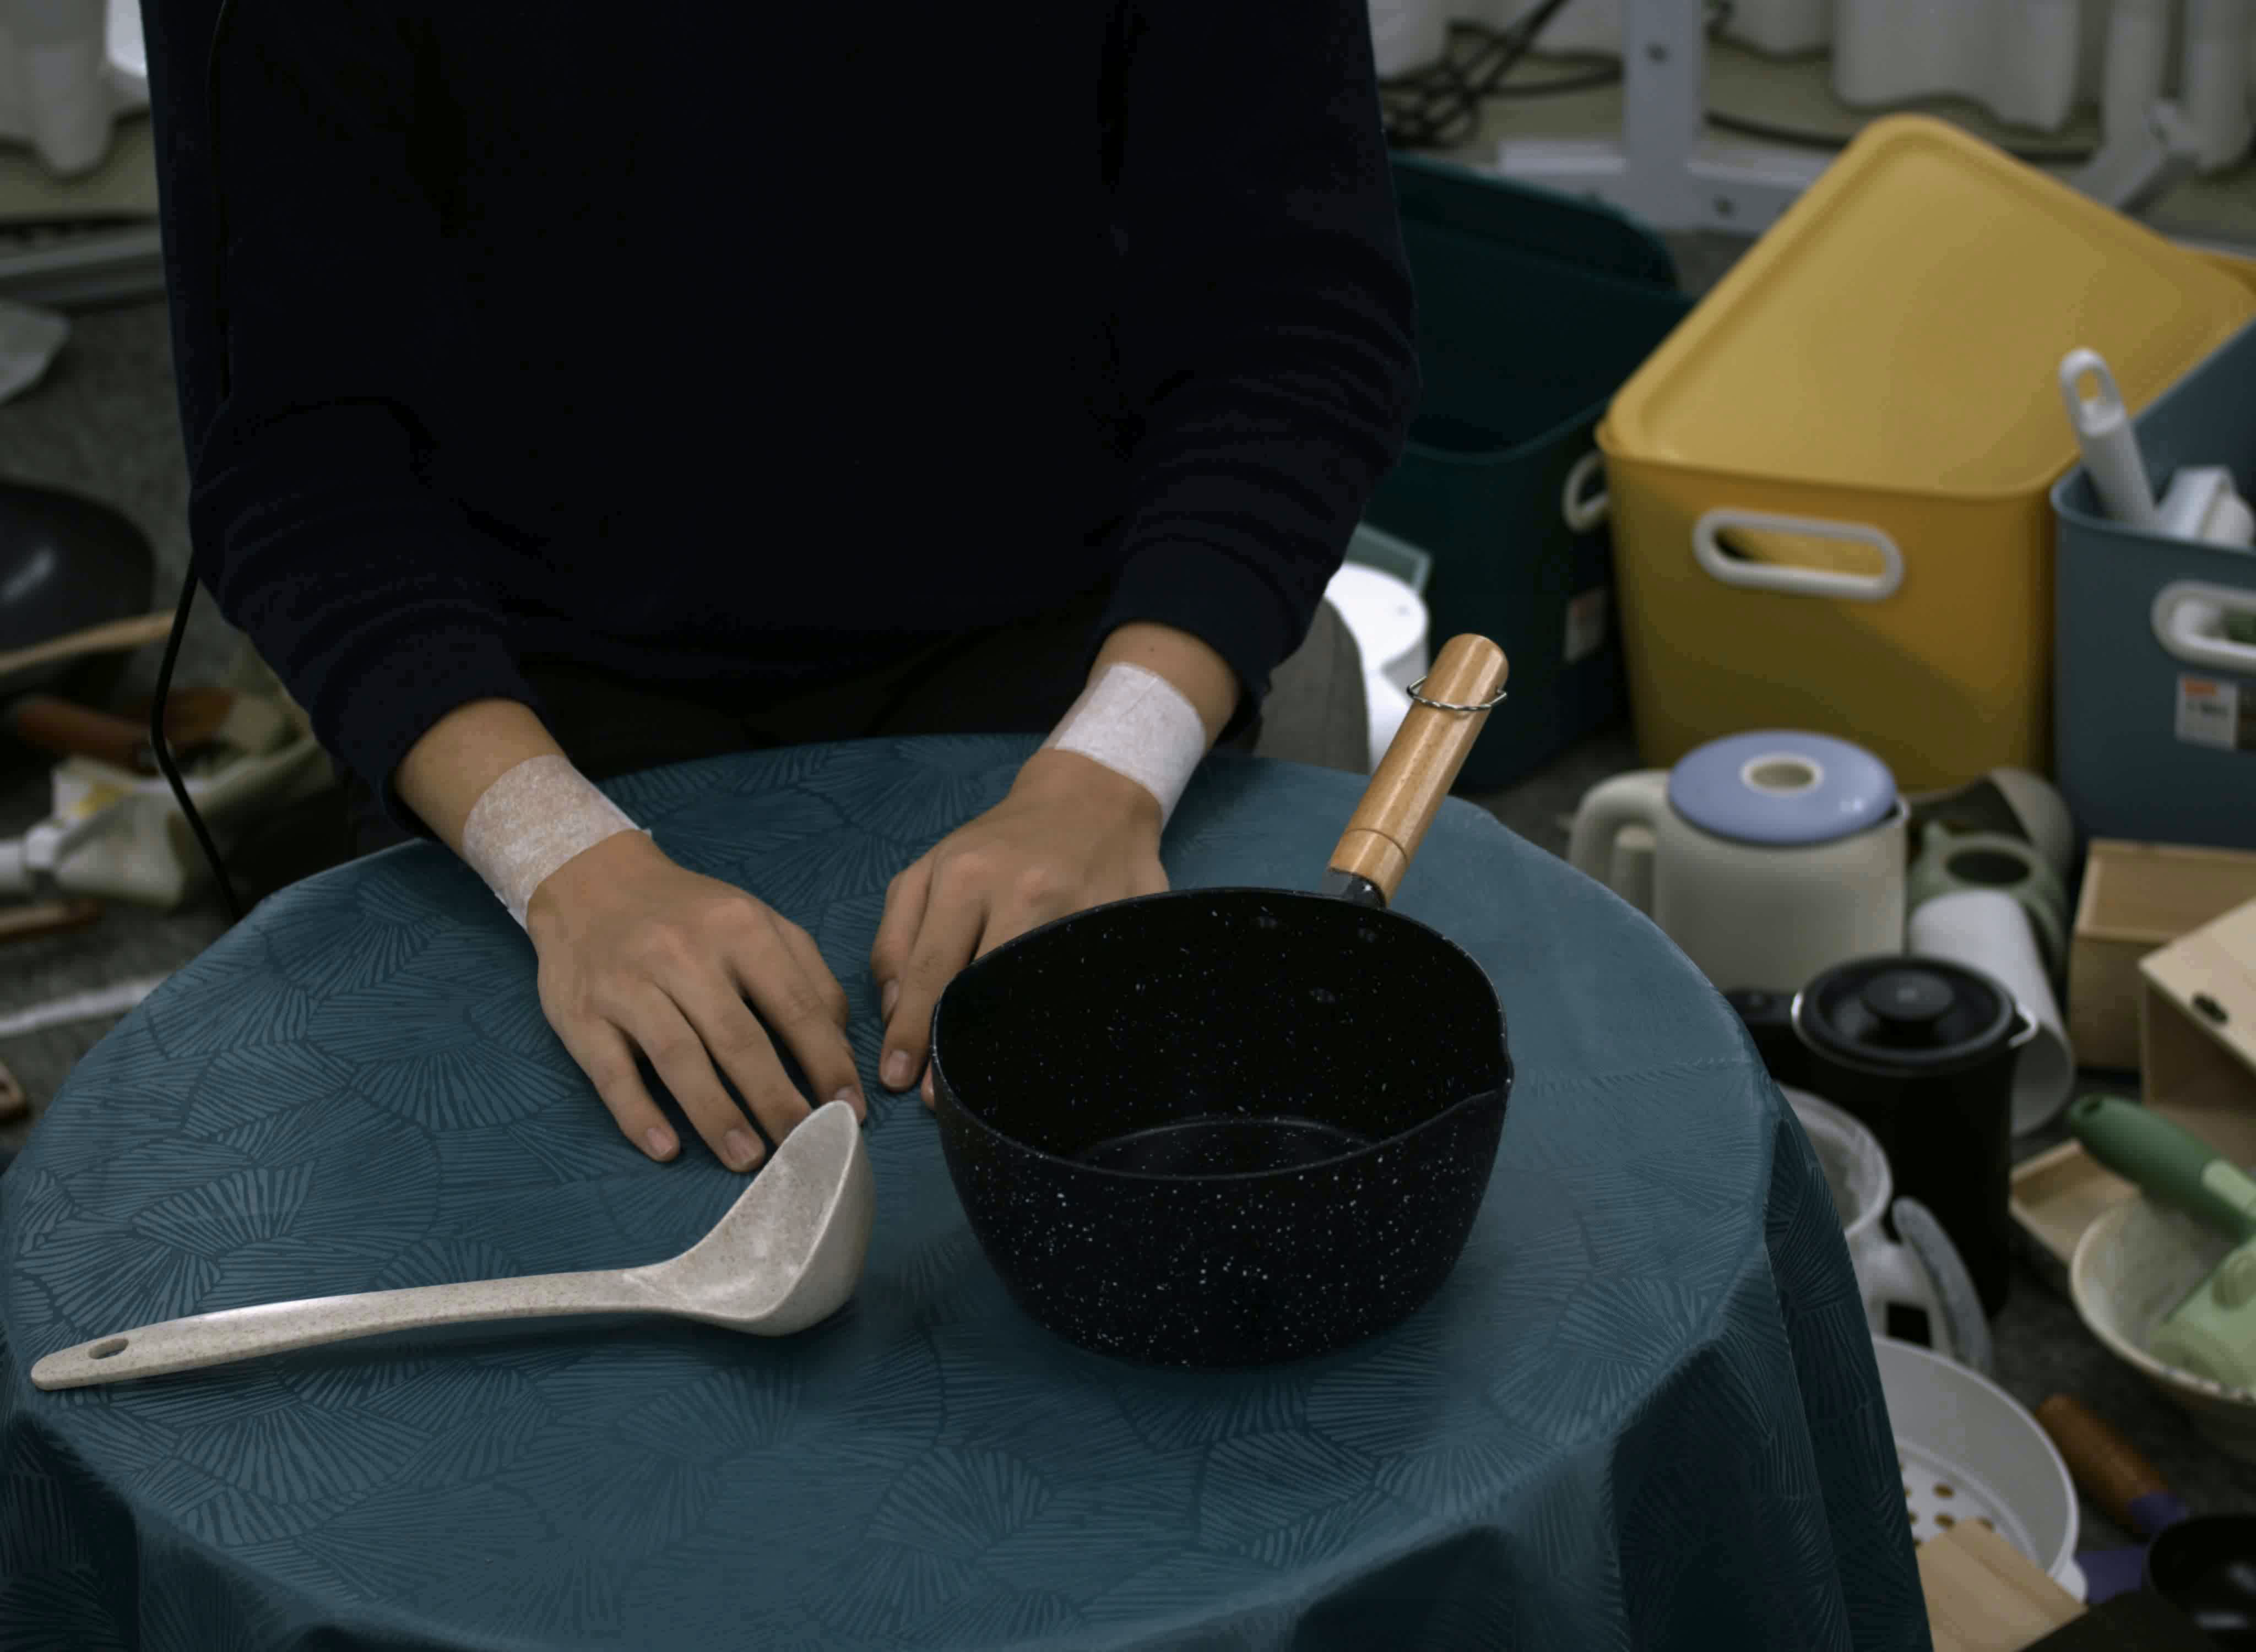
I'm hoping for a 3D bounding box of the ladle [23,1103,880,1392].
[{"bbox_3d":[-0.215,0.136,1.782,0.274,0.068,0.091,-5,31,-4],"label":"ladle"}]

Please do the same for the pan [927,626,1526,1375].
[{"bbox_3d":[0.059,0.054,1.870,0.206,0.107,0.349,7,30,21],"label":"pan"}]
